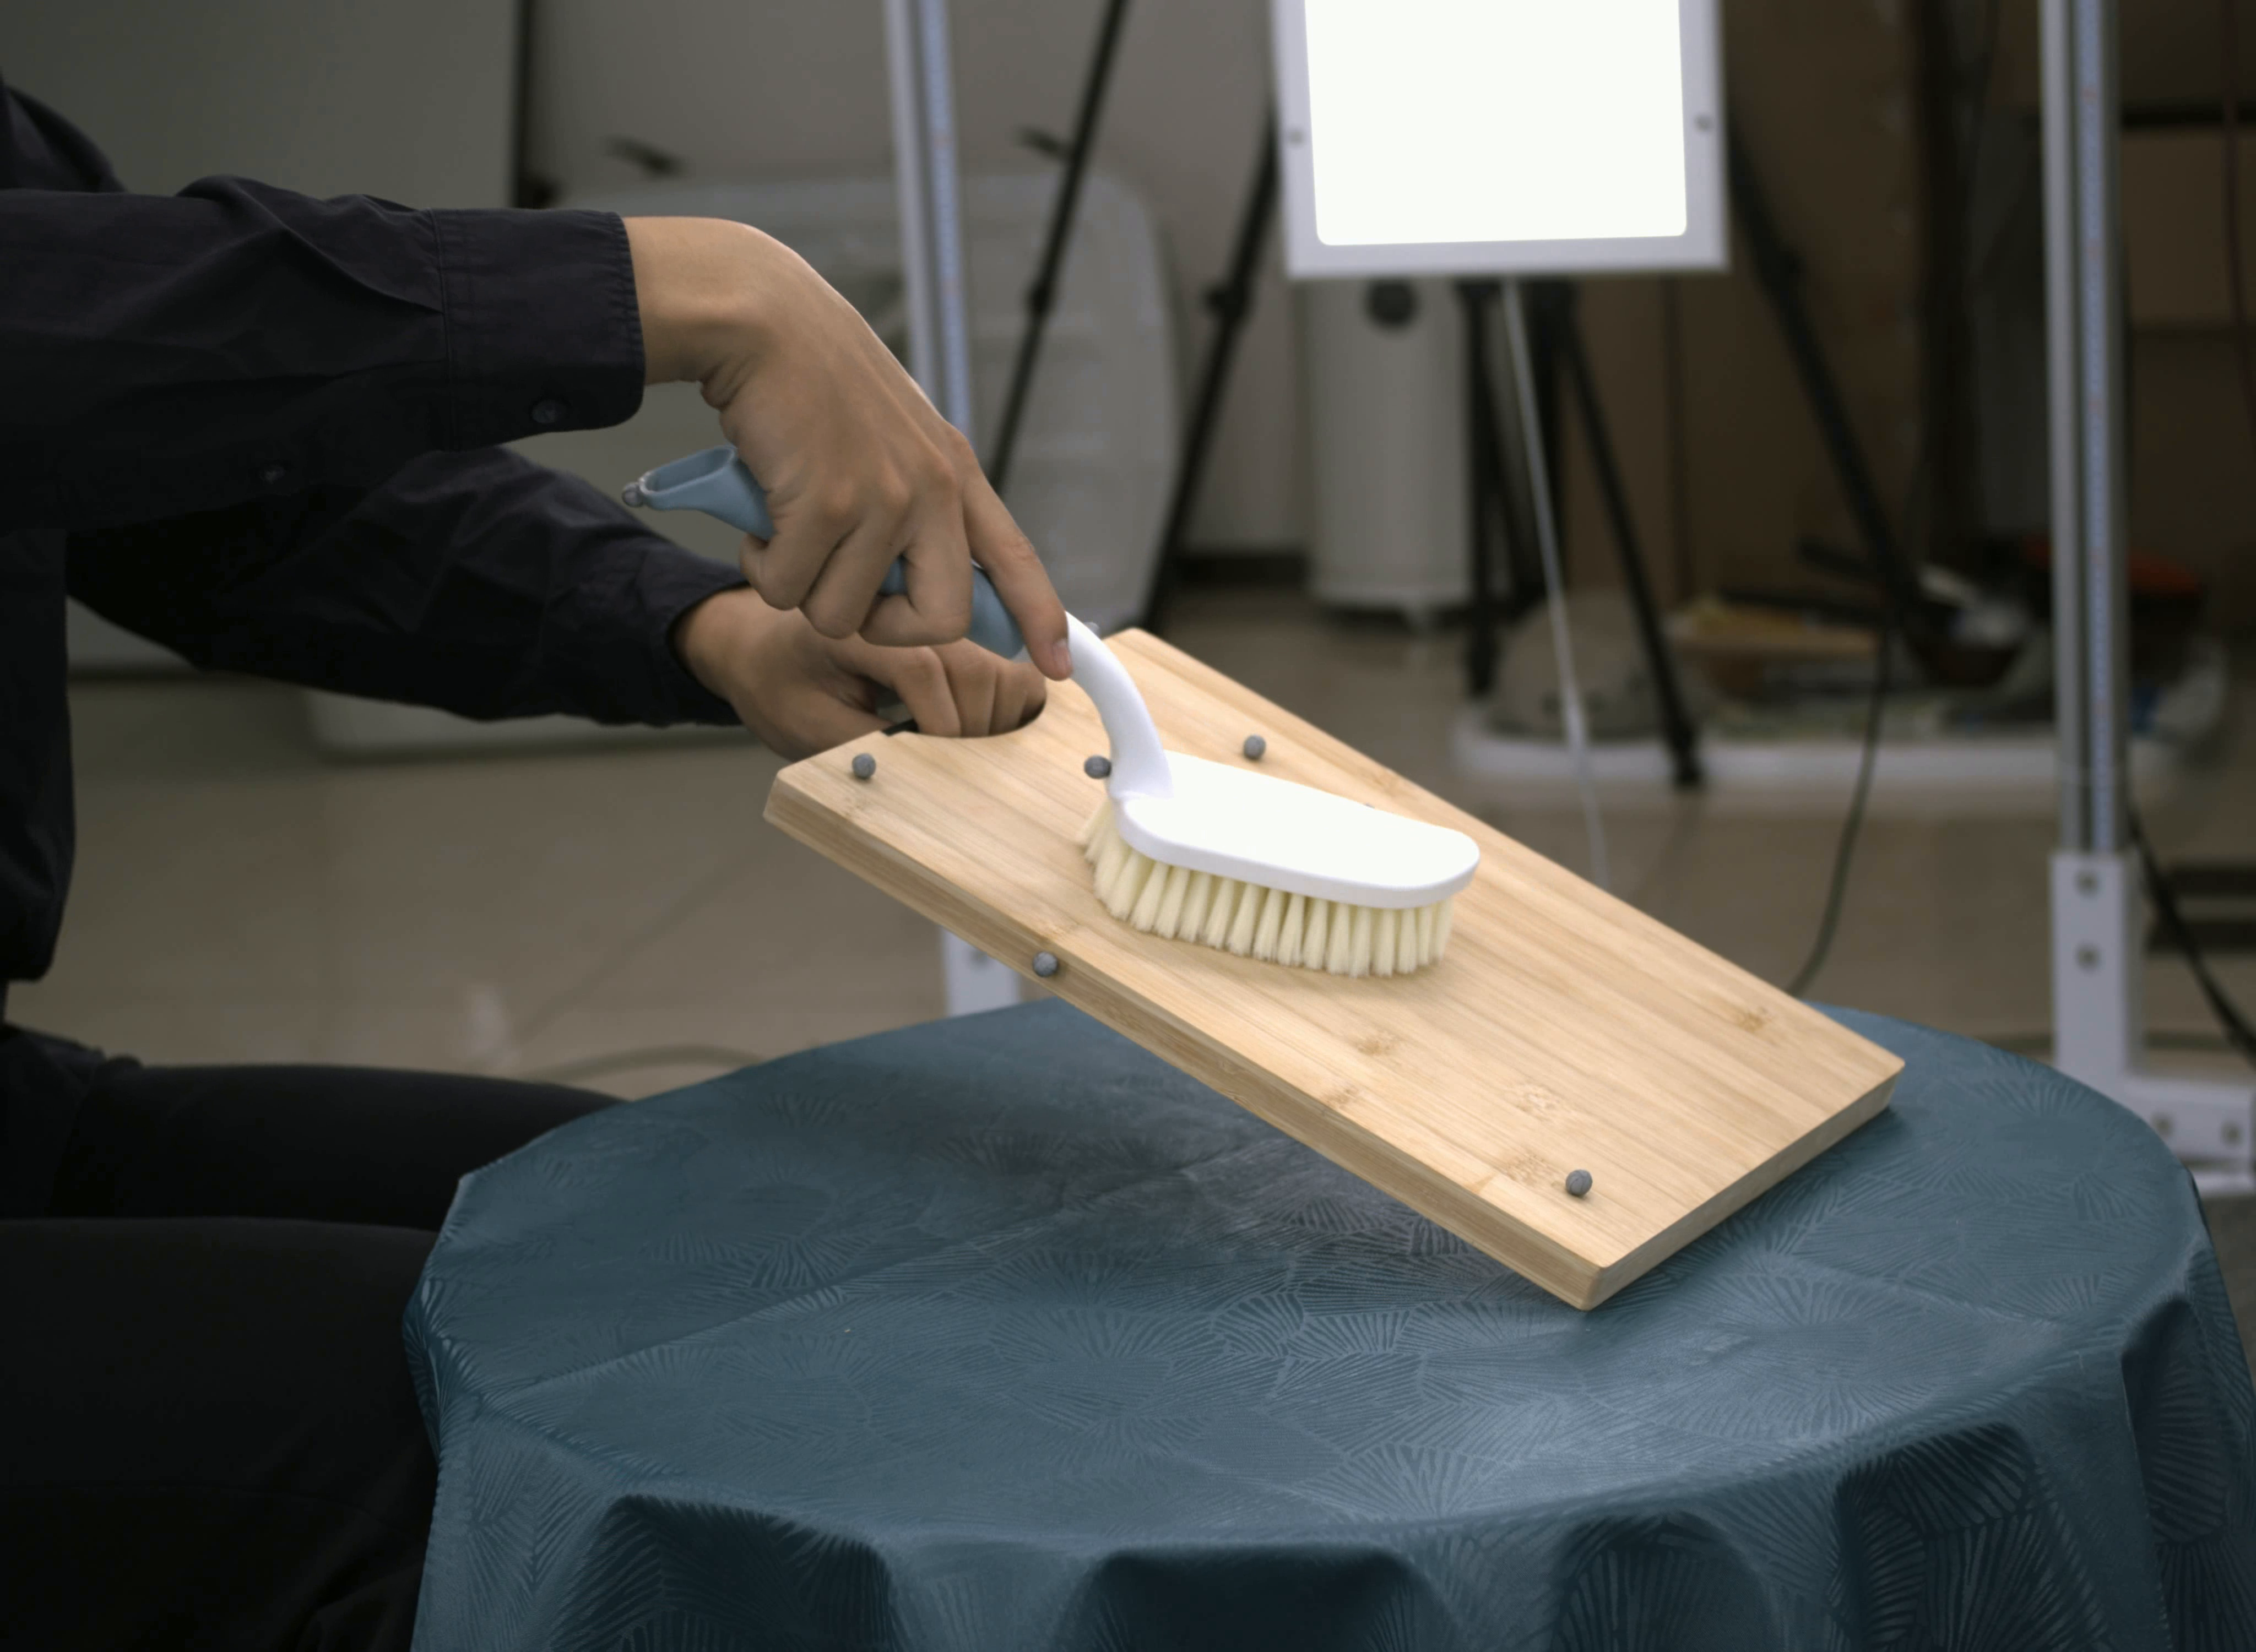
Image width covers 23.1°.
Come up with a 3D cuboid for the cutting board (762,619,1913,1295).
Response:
[{"bbox_3d":[0.075,0.037,1.899,0.353,0.024,0.245,29,27,22],"label":"cutting board"}]

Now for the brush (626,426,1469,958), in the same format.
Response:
[{"bbox_3d":[-0.037,-0.032,1.844,0.321,0.084,0.084,25,-14,-16],"label":"brush"}]
